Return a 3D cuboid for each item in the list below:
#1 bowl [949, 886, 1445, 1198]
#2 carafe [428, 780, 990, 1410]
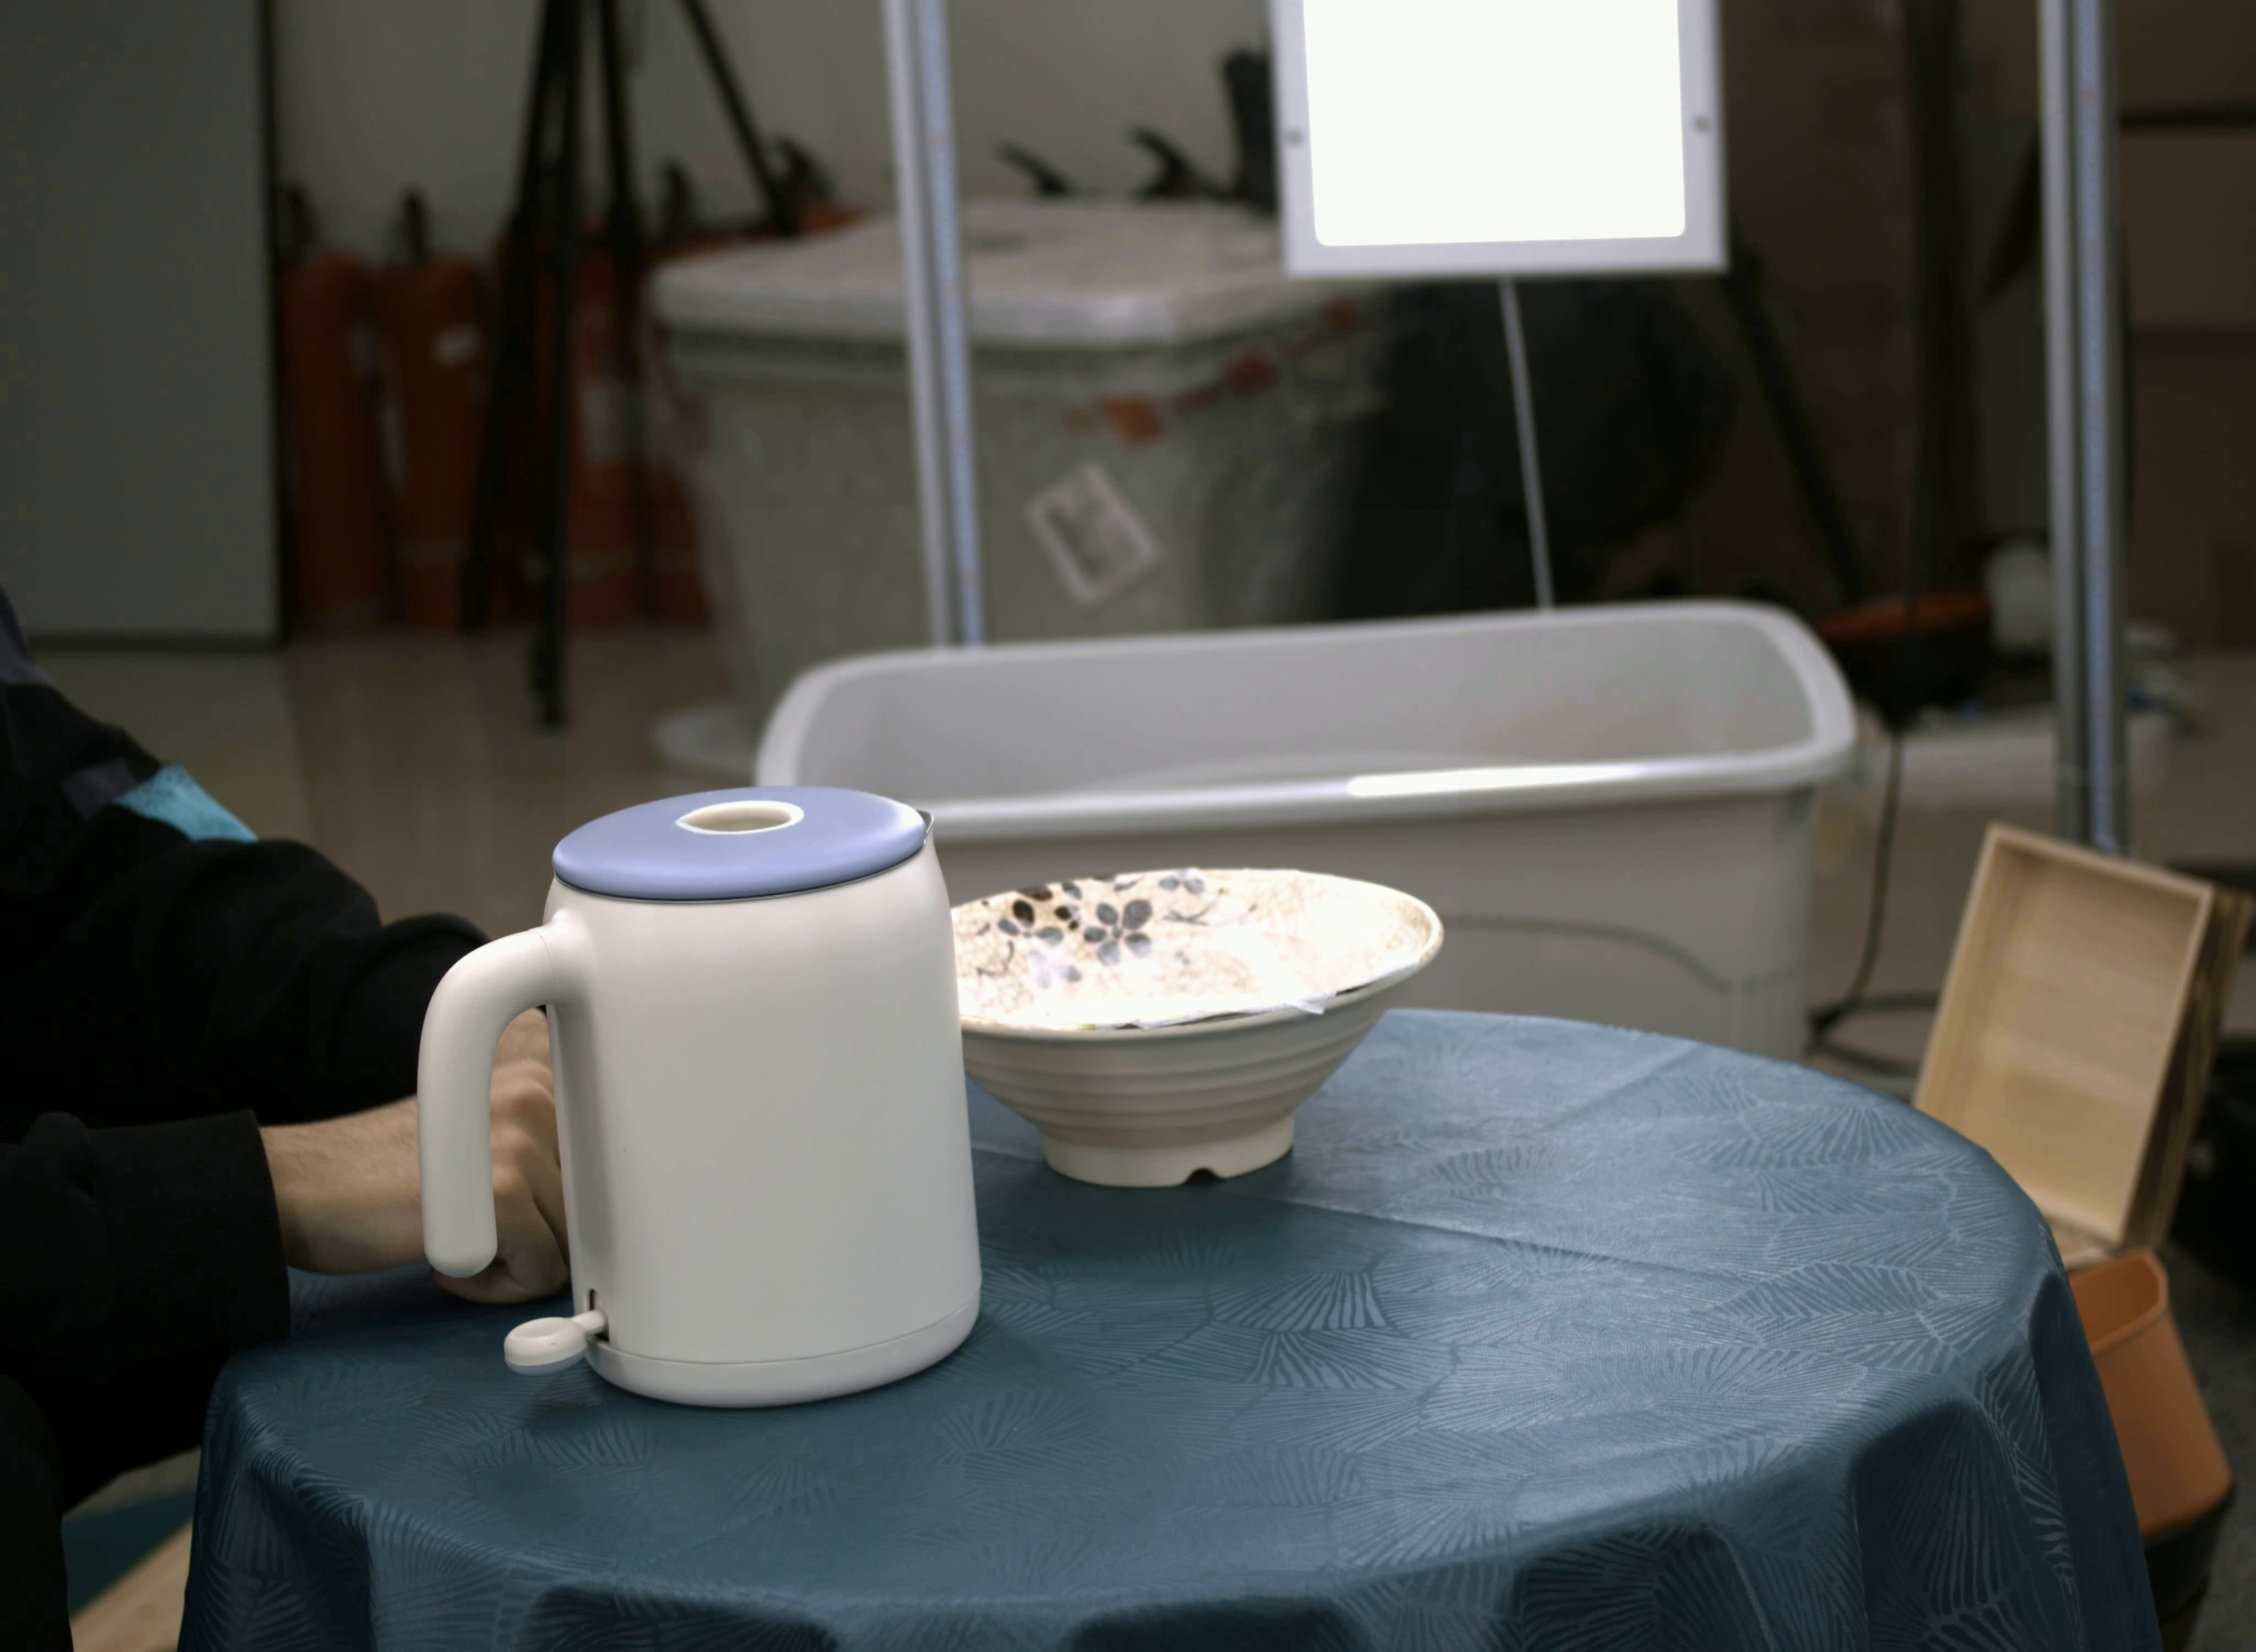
[{"bbox_3d":[0.015,0.081,1.925,0.203,0.078,0.204,-8,11,0],"label":"bowl"},{"bbox_3d":[-0.136,0.090,1.738,0.187,0.183,0.135,-16,16,-30],"label":"carafe"}]
